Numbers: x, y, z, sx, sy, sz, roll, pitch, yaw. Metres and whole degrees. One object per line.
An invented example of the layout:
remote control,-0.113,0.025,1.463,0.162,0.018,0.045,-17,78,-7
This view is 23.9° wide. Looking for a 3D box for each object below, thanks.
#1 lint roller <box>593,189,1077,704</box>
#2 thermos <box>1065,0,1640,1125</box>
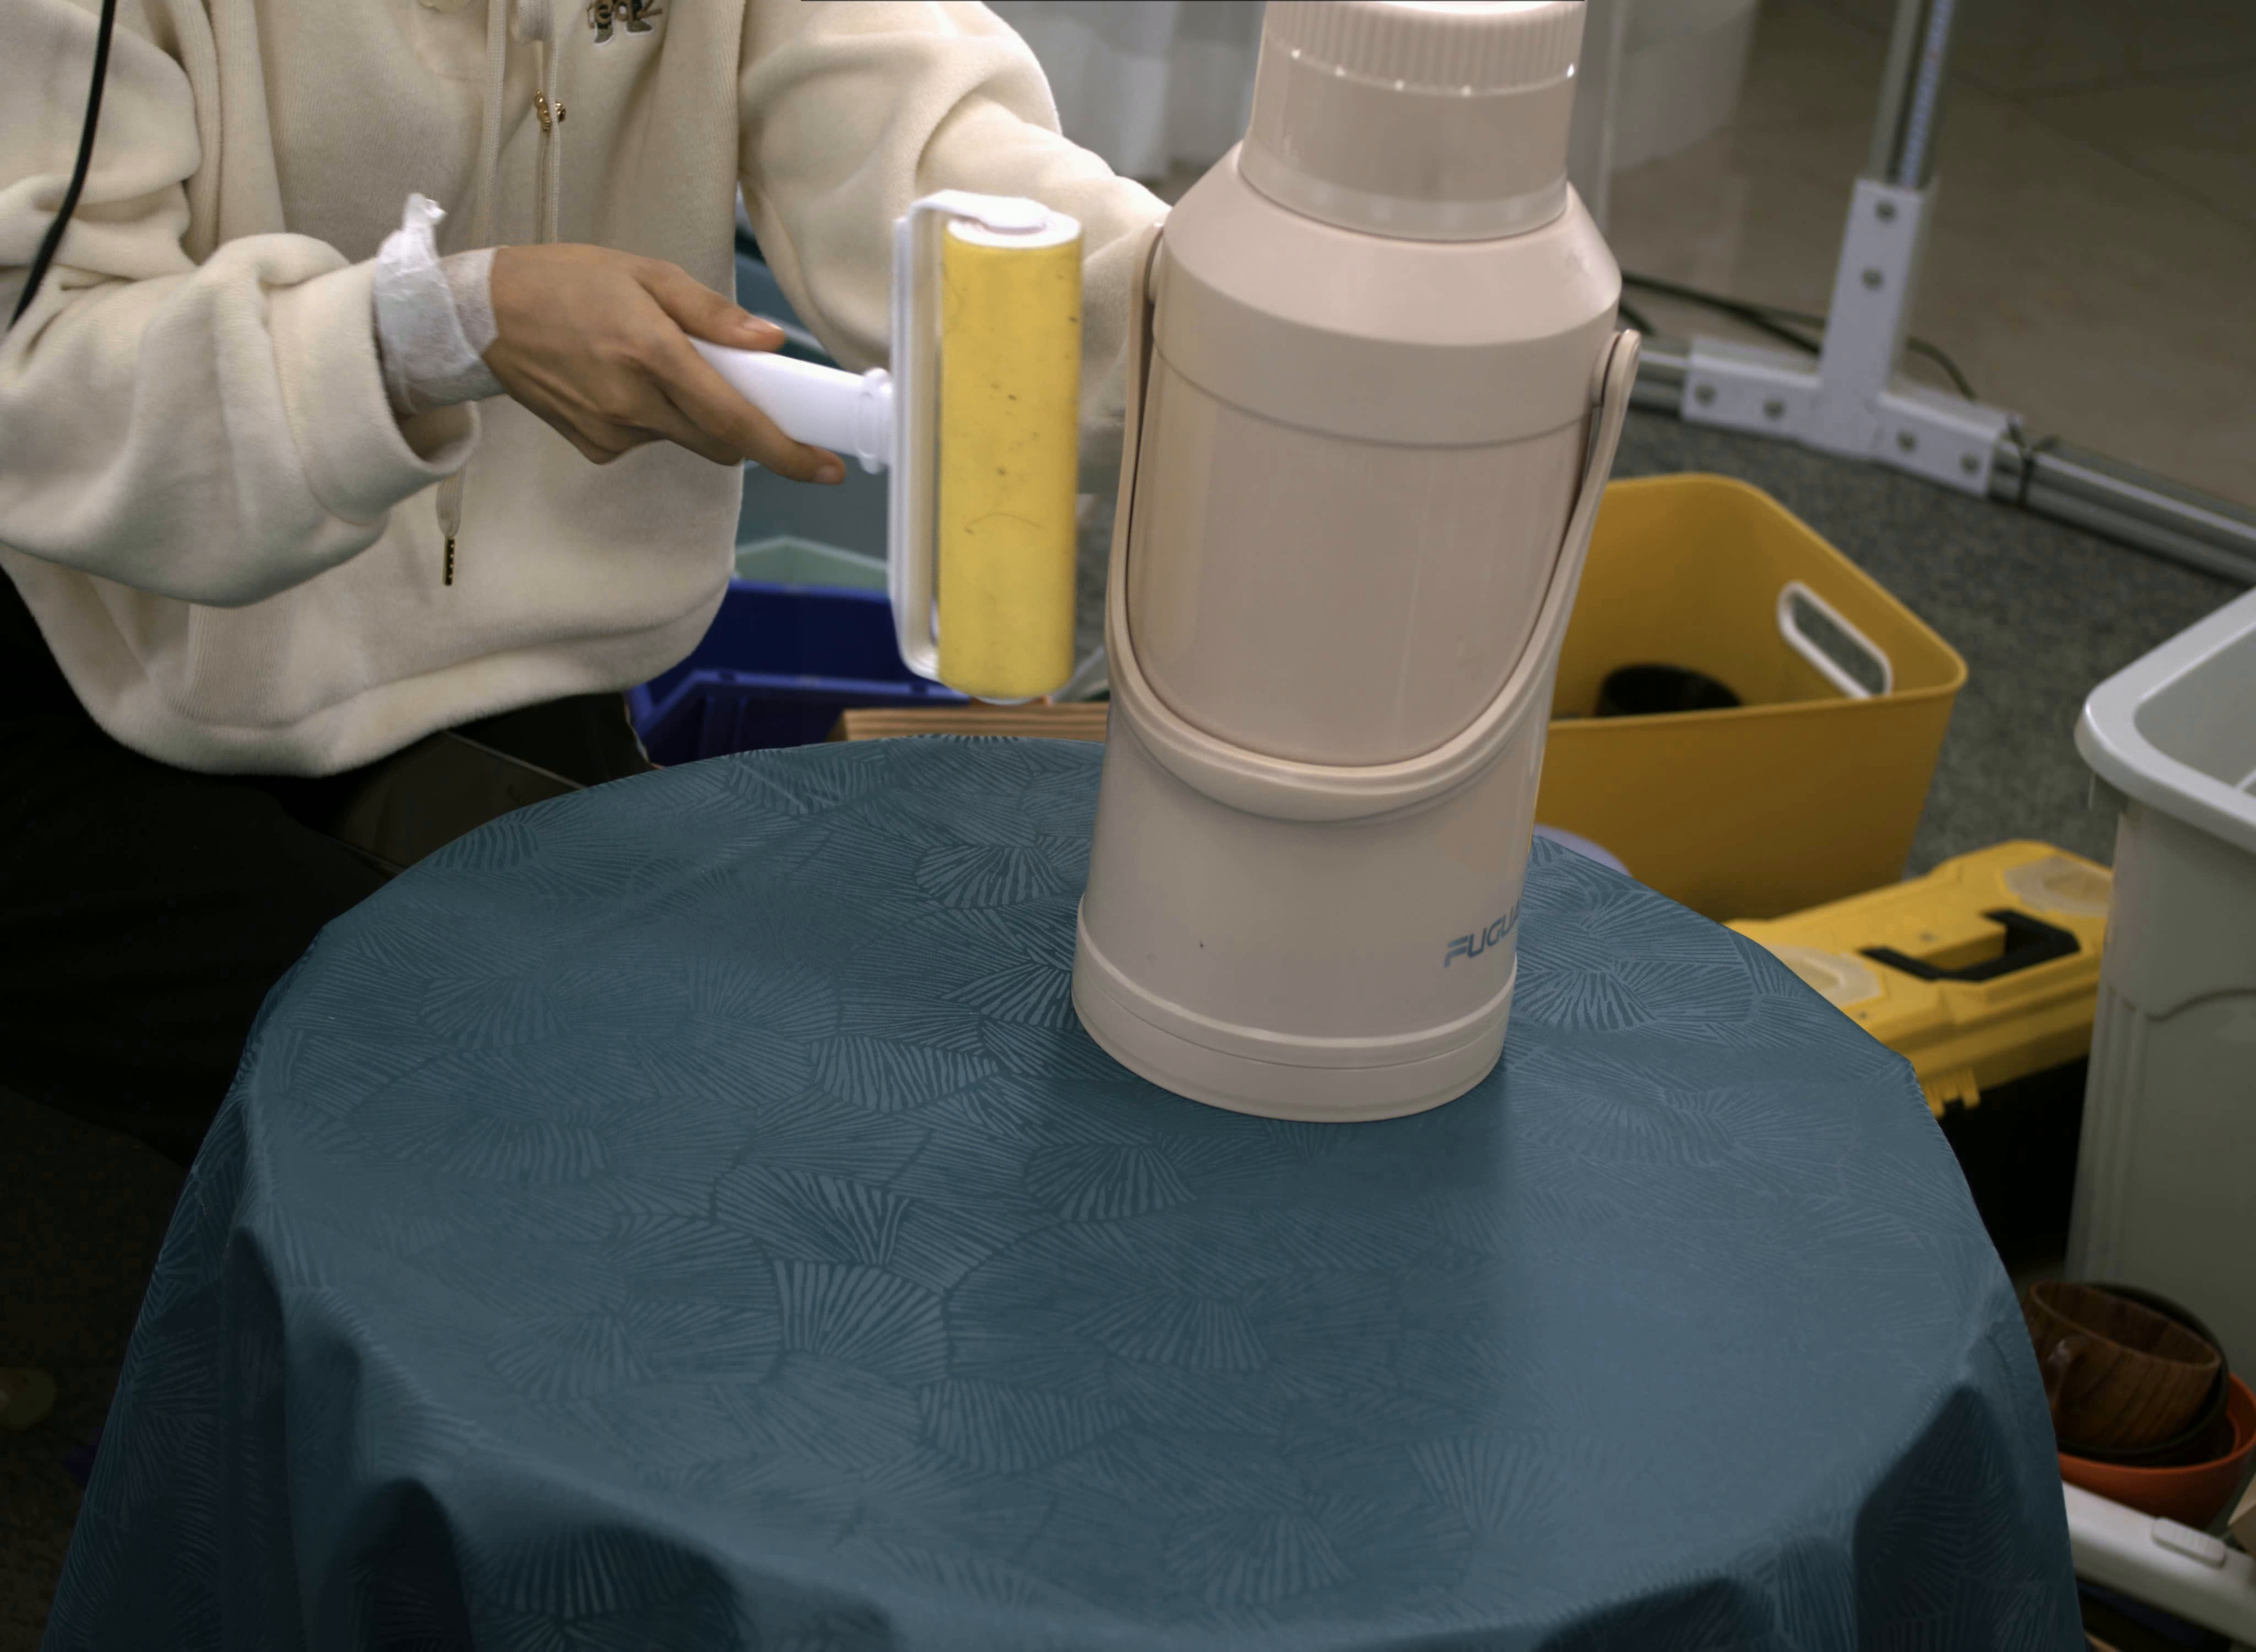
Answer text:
lint roller,-0.107,-0.138,1.829,0.192,0.174,0.051,9,23,21
thermos,0.084,-0.112,1.848,0.175,0.405,0.207,14,27,14
